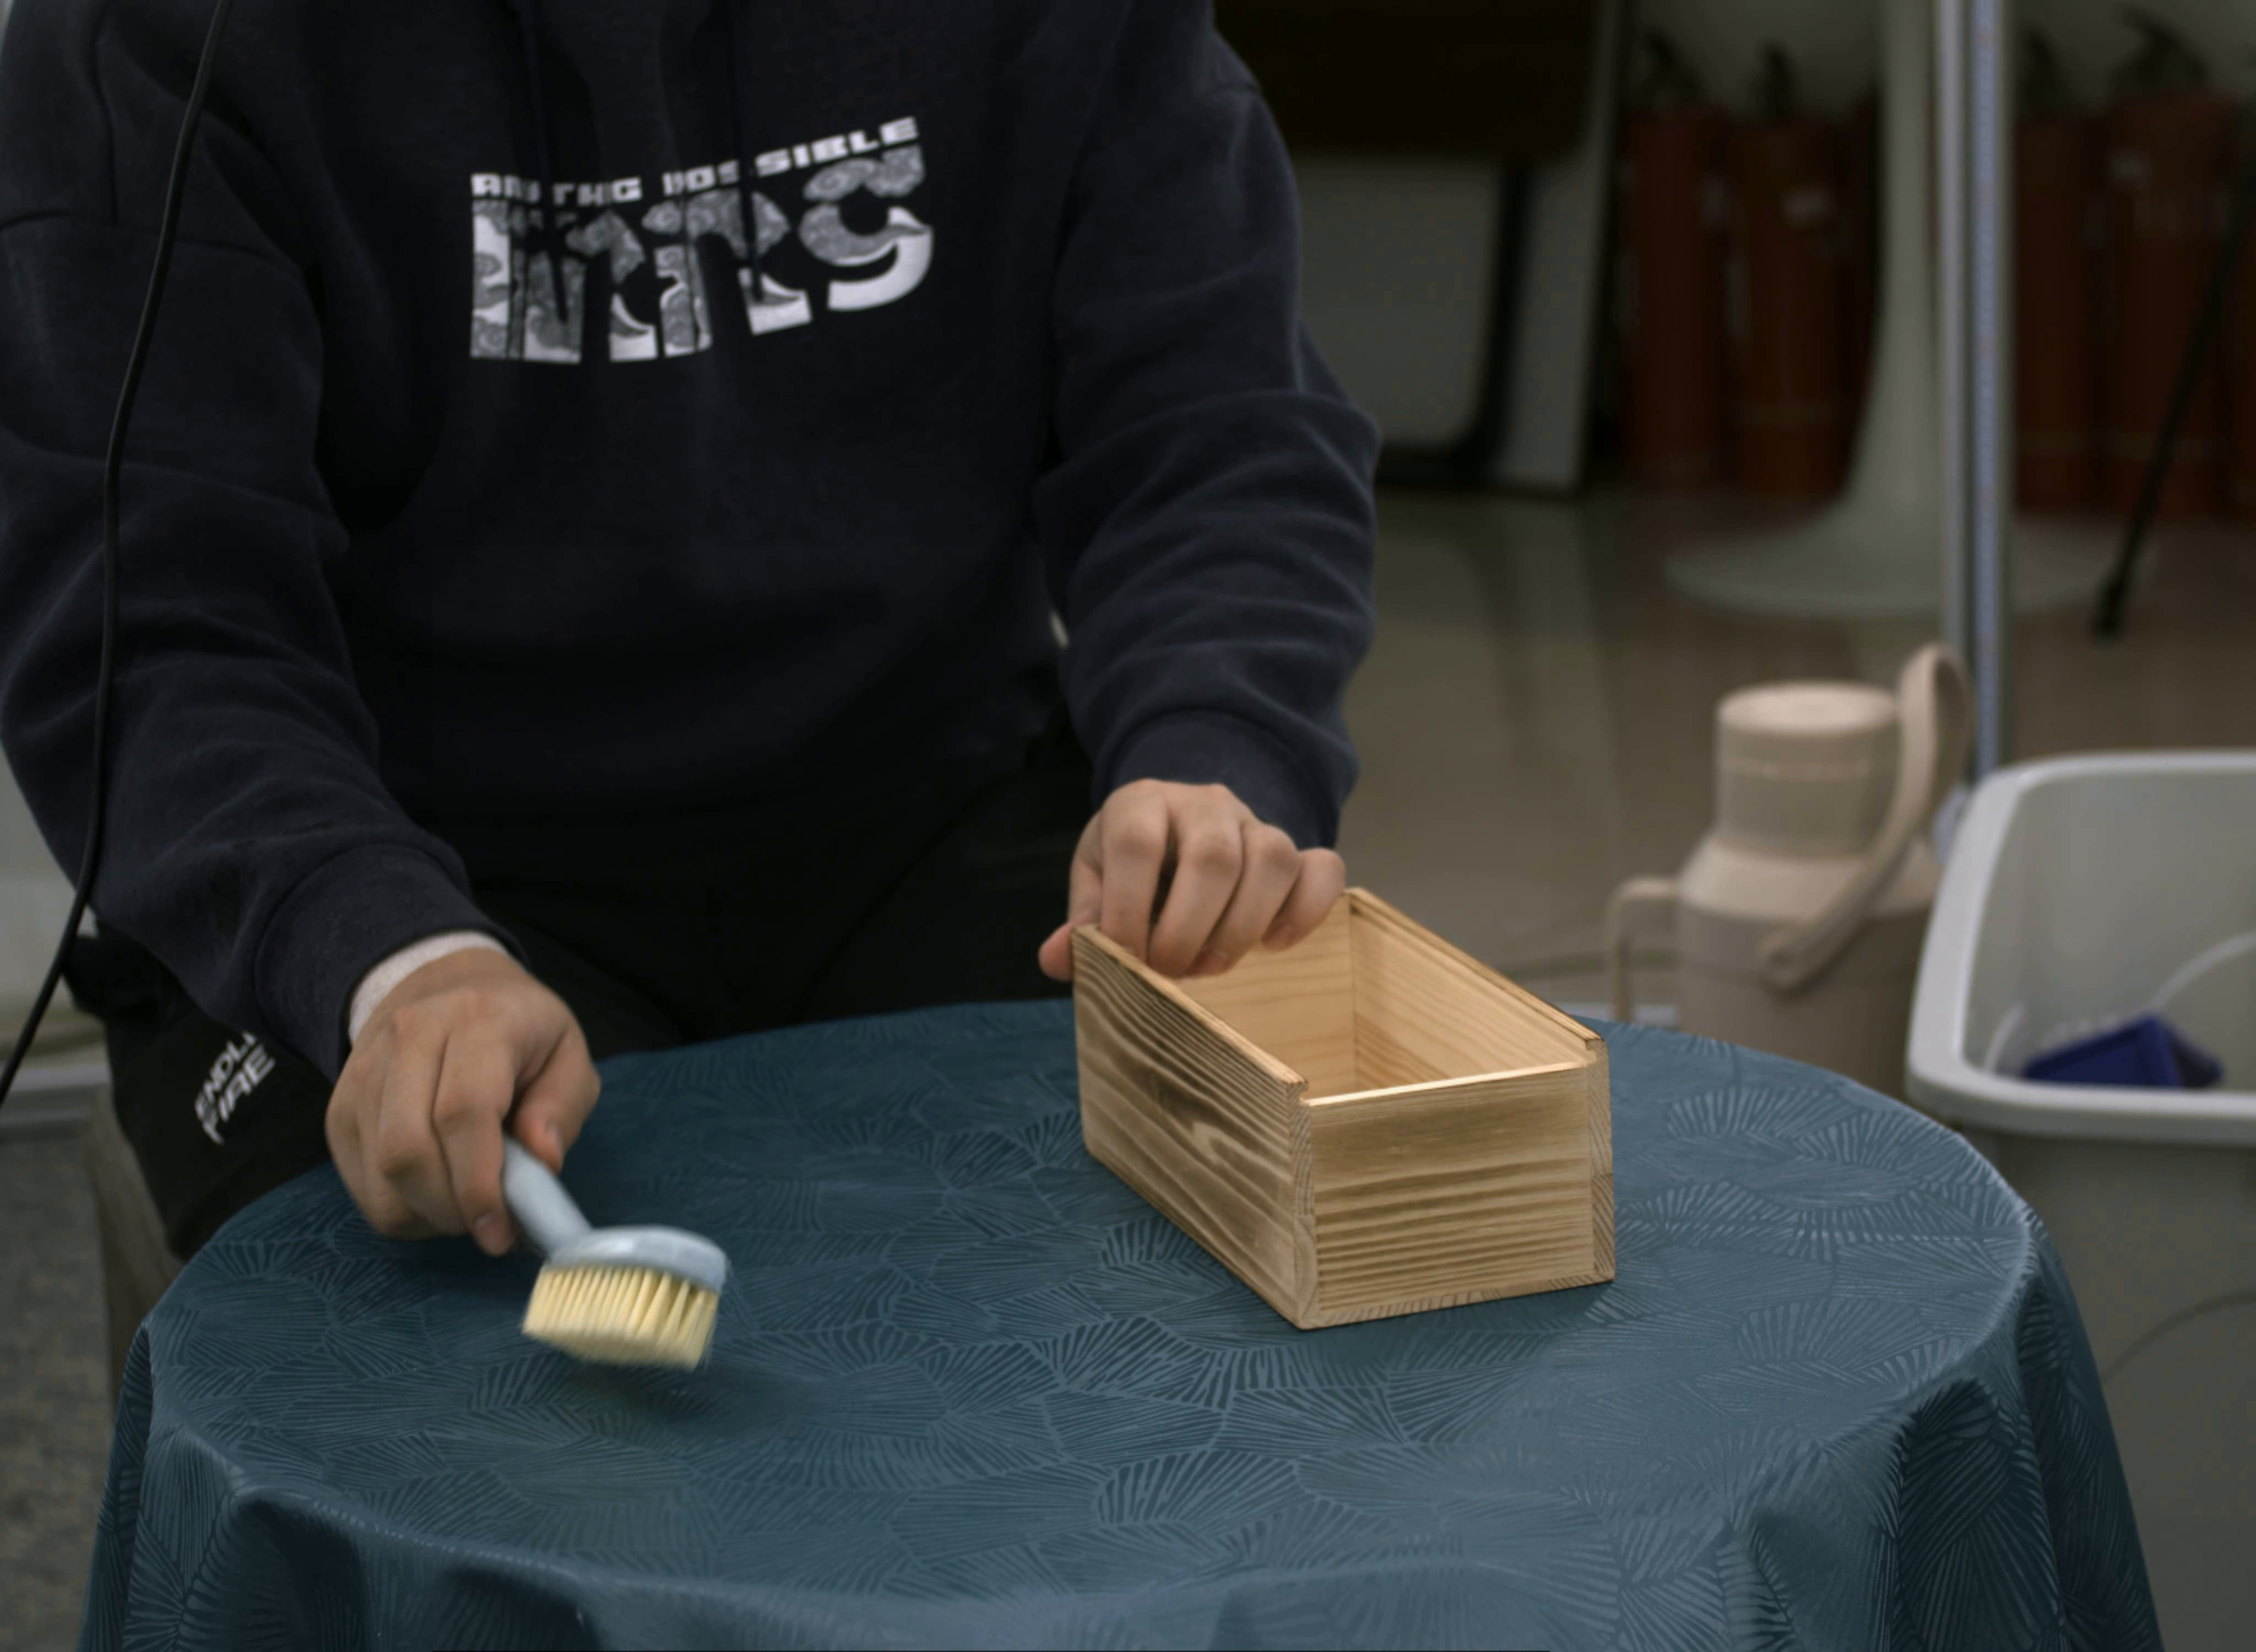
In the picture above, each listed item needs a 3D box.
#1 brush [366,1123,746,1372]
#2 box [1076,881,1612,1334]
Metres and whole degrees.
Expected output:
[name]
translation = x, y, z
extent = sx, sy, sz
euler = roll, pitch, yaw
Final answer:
[brush]
translation = -0.184, 0.131, 1.667
extent = 0.037, 0.050, 0.231
euler = 25, -4, -32
[box]
translation = 0.066, 0.086, 1.728
extent = 0.105, 0.081, 0.213
euler = -8, 15, -17
